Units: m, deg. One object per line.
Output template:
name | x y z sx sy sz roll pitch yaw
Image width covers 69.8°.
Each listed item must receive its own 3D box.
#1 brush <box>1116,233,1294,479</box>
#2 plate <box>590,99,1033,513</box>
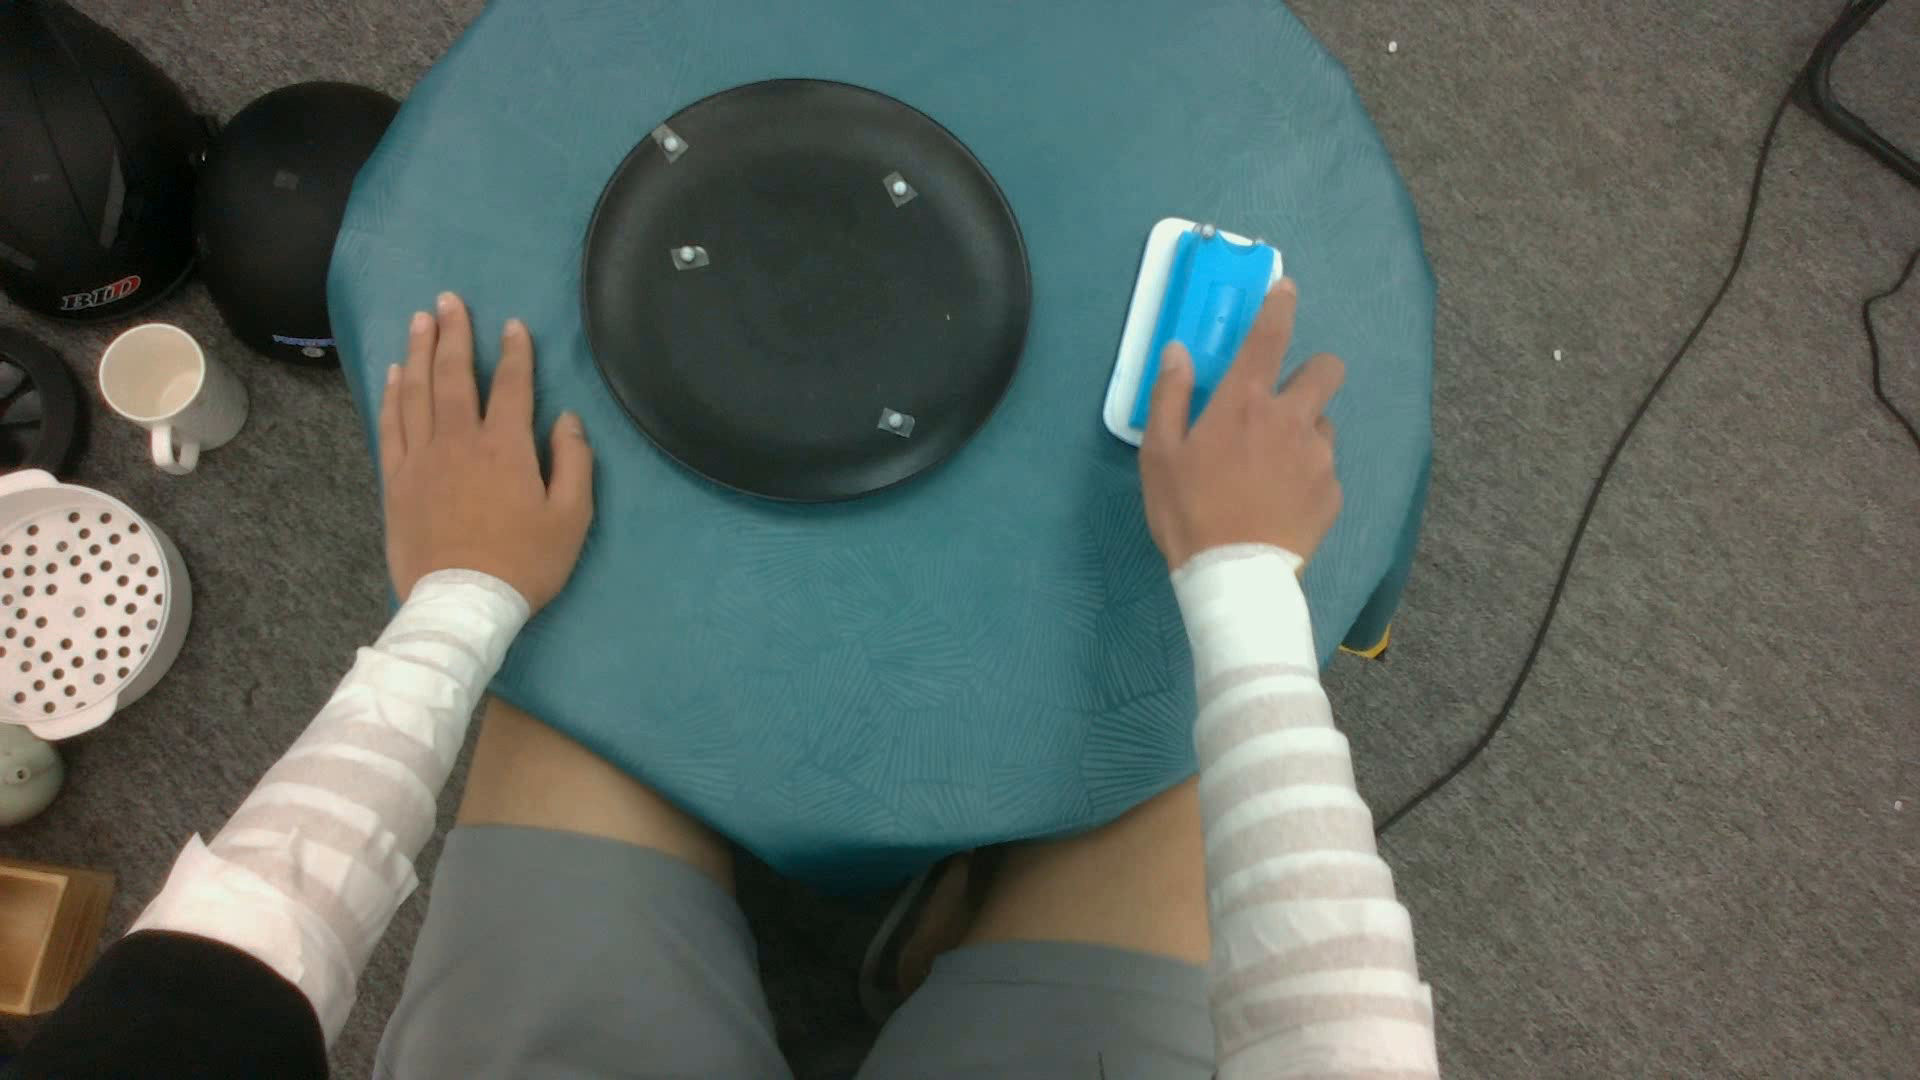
brush | 0.140 -0.109 0.766 0.084 0.056 0.144 13 73 2
plate | -0.081 -0.132 0.768 0.244 0.023 0.245 1 77 -6
